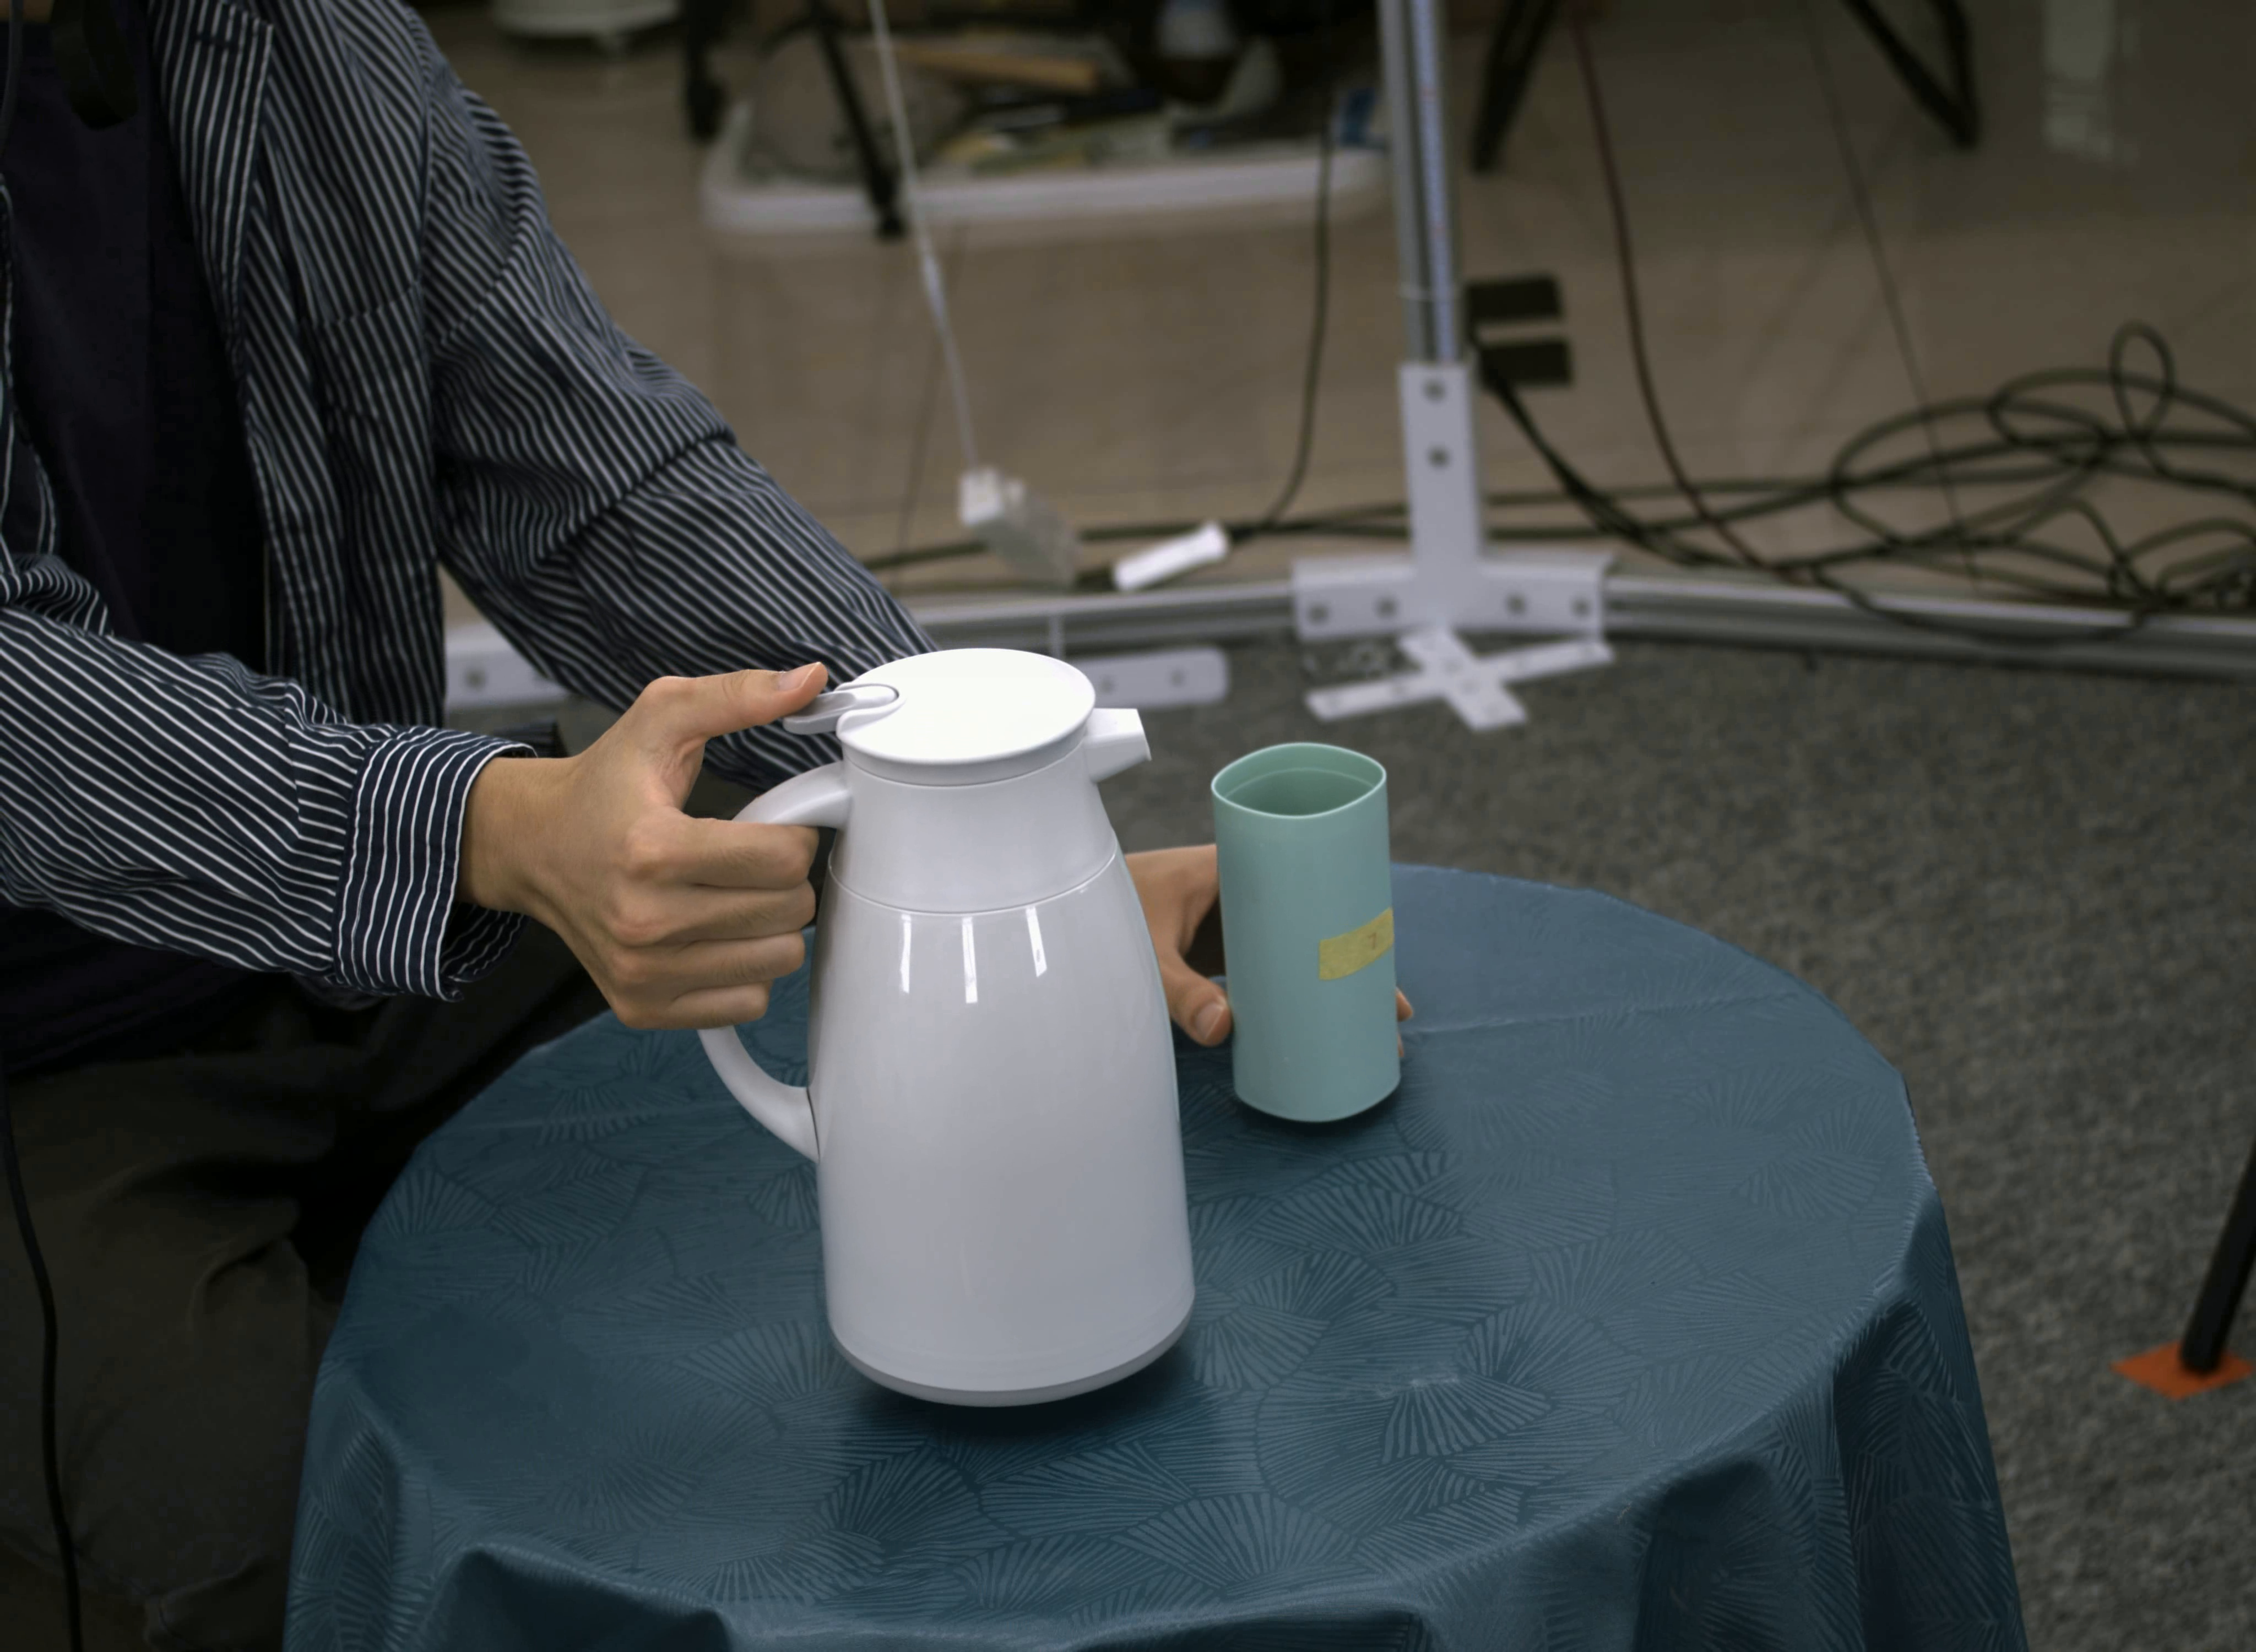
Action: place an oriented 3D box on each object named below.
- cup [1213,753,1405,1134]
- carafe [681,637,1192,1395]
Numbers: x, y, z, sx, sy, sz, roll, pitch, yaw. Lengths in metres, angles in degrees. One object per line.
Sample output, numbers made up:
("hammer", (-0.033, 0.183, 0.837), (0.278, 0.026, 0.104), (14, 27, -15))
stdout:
("cup", (0.069, 0.044, 2.166), (0.066, 0.134, 0.066), (-4, 27, 2))
("carafe", (-0.069, 0.063, 1.975), (0.167, 0.253, 0.130), (-9, 28, -8))
